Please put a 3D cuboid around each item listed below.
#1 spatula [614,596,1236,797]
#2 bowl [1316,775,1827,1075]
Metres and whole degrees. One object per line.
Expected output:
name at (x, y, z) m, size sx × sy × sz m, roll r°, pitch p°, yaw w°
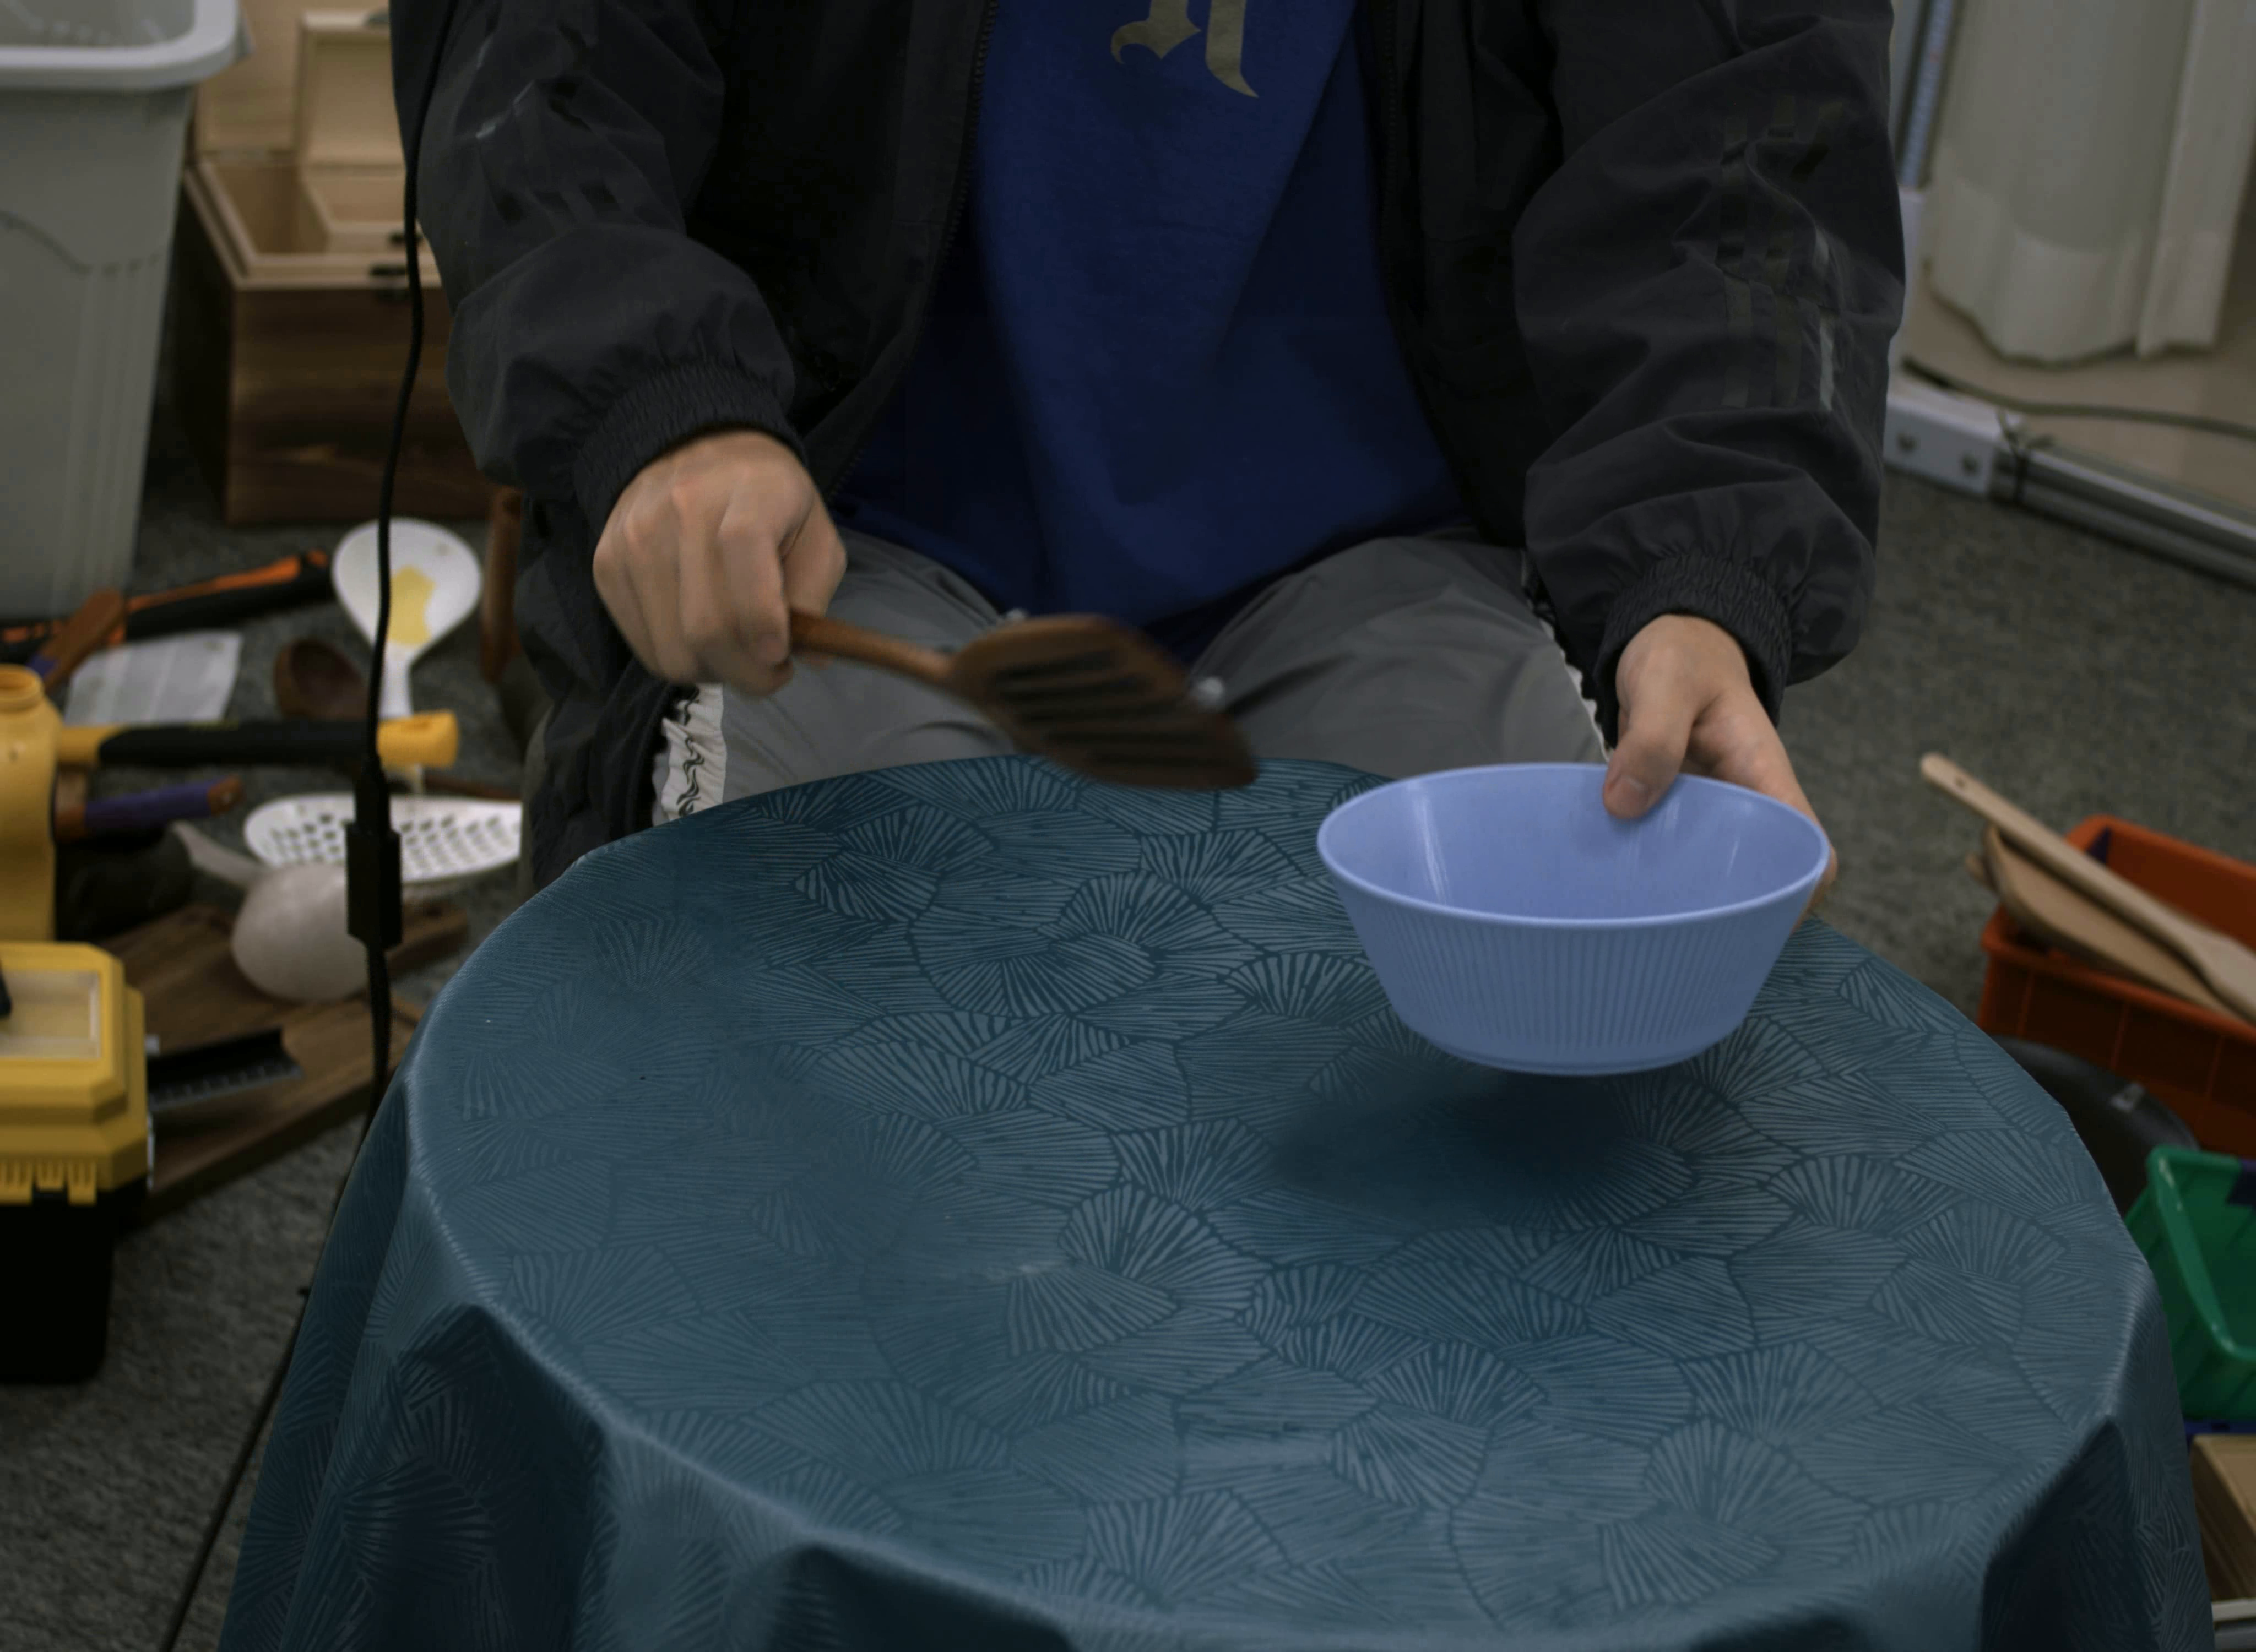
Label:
spatula at (-0.089, -0.053, 1.837) m, size 0.024 × 0.085 × 0.389 m, roll -53°, pitch 29°, yaw -14°
bowl at (0.152, 0.037, 1.836) m, size 0.175 × 0.070 × 0.177 m, roll -1°, pitch 16°, yaw 0°
